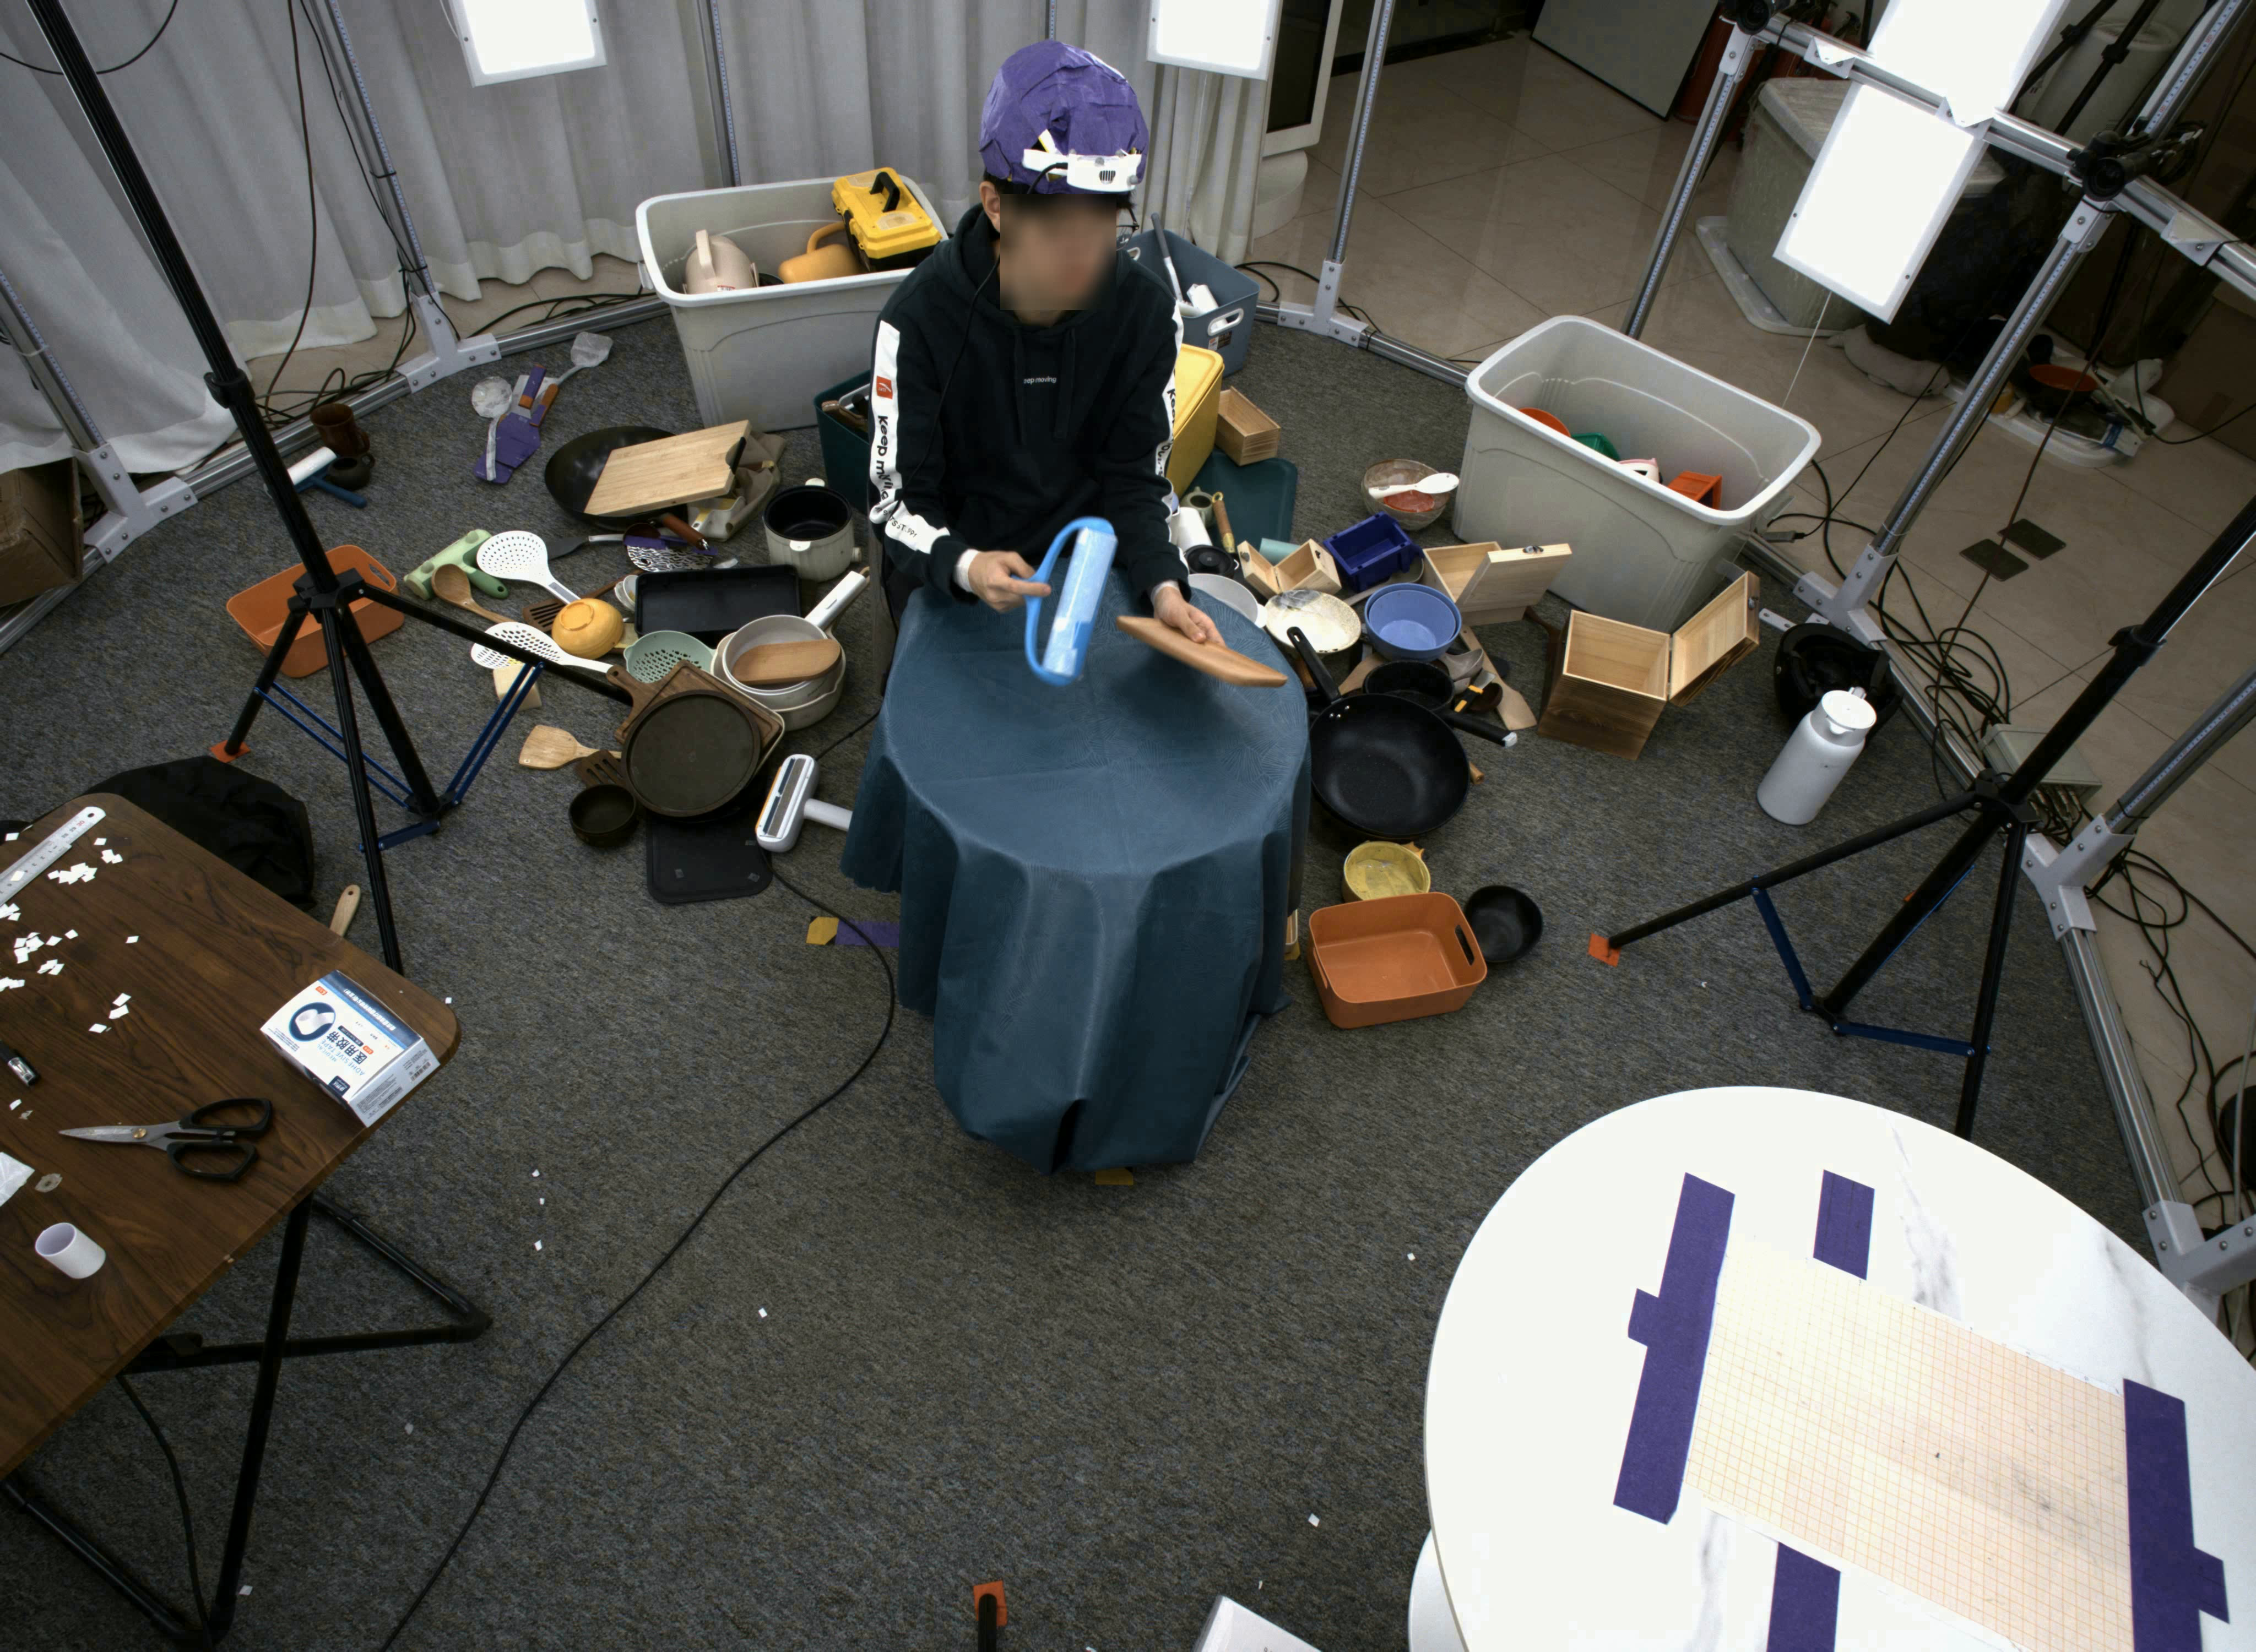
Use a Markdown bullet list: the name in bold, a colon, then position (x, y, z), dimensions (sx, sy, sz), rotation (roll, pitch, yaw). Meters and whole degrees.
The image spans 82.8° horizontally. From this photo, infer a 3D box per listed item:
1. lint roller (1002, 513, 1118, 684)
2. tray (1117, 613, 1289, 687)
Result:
- **lint roller**: position (-0.112, -0.317, 1.740), dimensions (0.182, 0.227, 0.068), rotation (16, 10, 29)
- **tray**: position (0.099, -0.243, 1.763), dimensions (0.130, 0.022, 0.255), rotation (2, 22, -46)
